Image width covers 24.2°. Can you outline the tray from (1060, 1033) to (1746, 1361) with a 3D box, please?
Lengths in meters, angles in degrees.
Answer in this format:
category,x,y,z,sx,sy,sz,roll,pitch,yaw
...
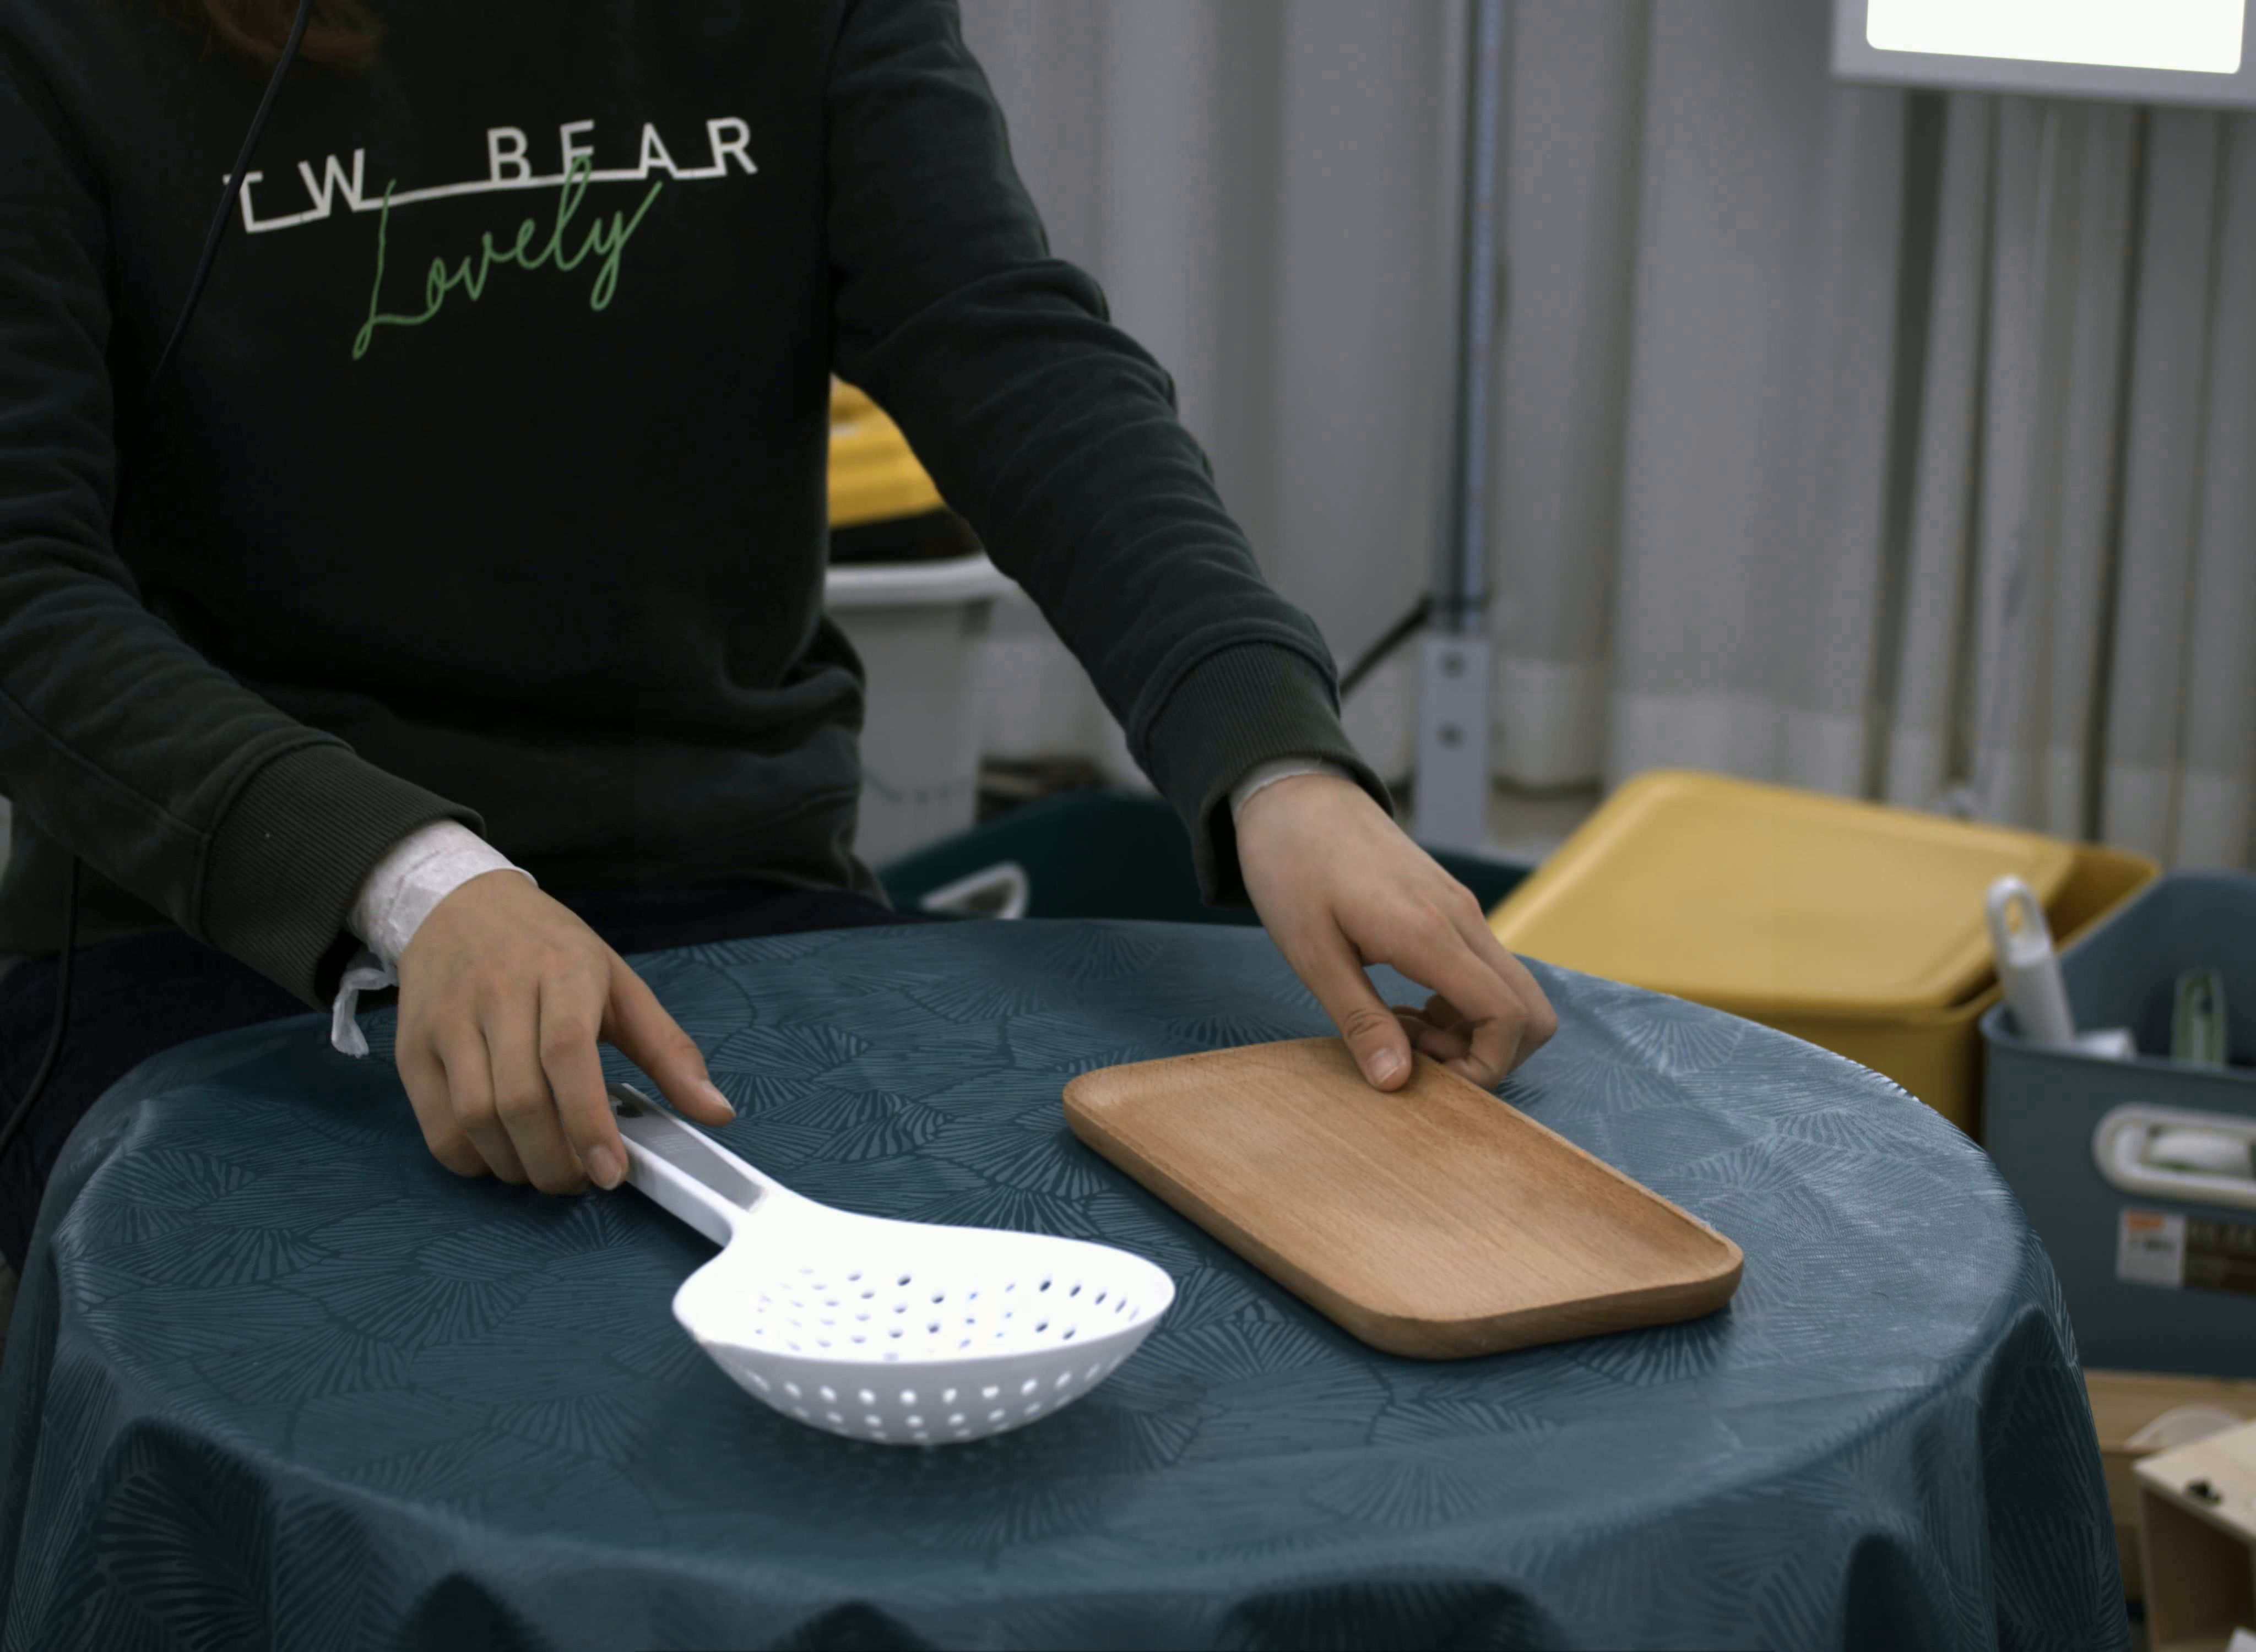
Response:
category,x,y,z,sx,sy,sz,roll,pitch,yaw
tray,0.079,0.110,1.608,0.131,0.023,0.247,-5,16,-25

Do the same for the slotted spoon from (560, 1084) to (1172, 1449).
category,x,y,z,sx,sy,sz,roll,pitch,yaw
slotted spoon,-0.100,0.118,1.522,0.136,0.046,0.345,-4,16,-24
